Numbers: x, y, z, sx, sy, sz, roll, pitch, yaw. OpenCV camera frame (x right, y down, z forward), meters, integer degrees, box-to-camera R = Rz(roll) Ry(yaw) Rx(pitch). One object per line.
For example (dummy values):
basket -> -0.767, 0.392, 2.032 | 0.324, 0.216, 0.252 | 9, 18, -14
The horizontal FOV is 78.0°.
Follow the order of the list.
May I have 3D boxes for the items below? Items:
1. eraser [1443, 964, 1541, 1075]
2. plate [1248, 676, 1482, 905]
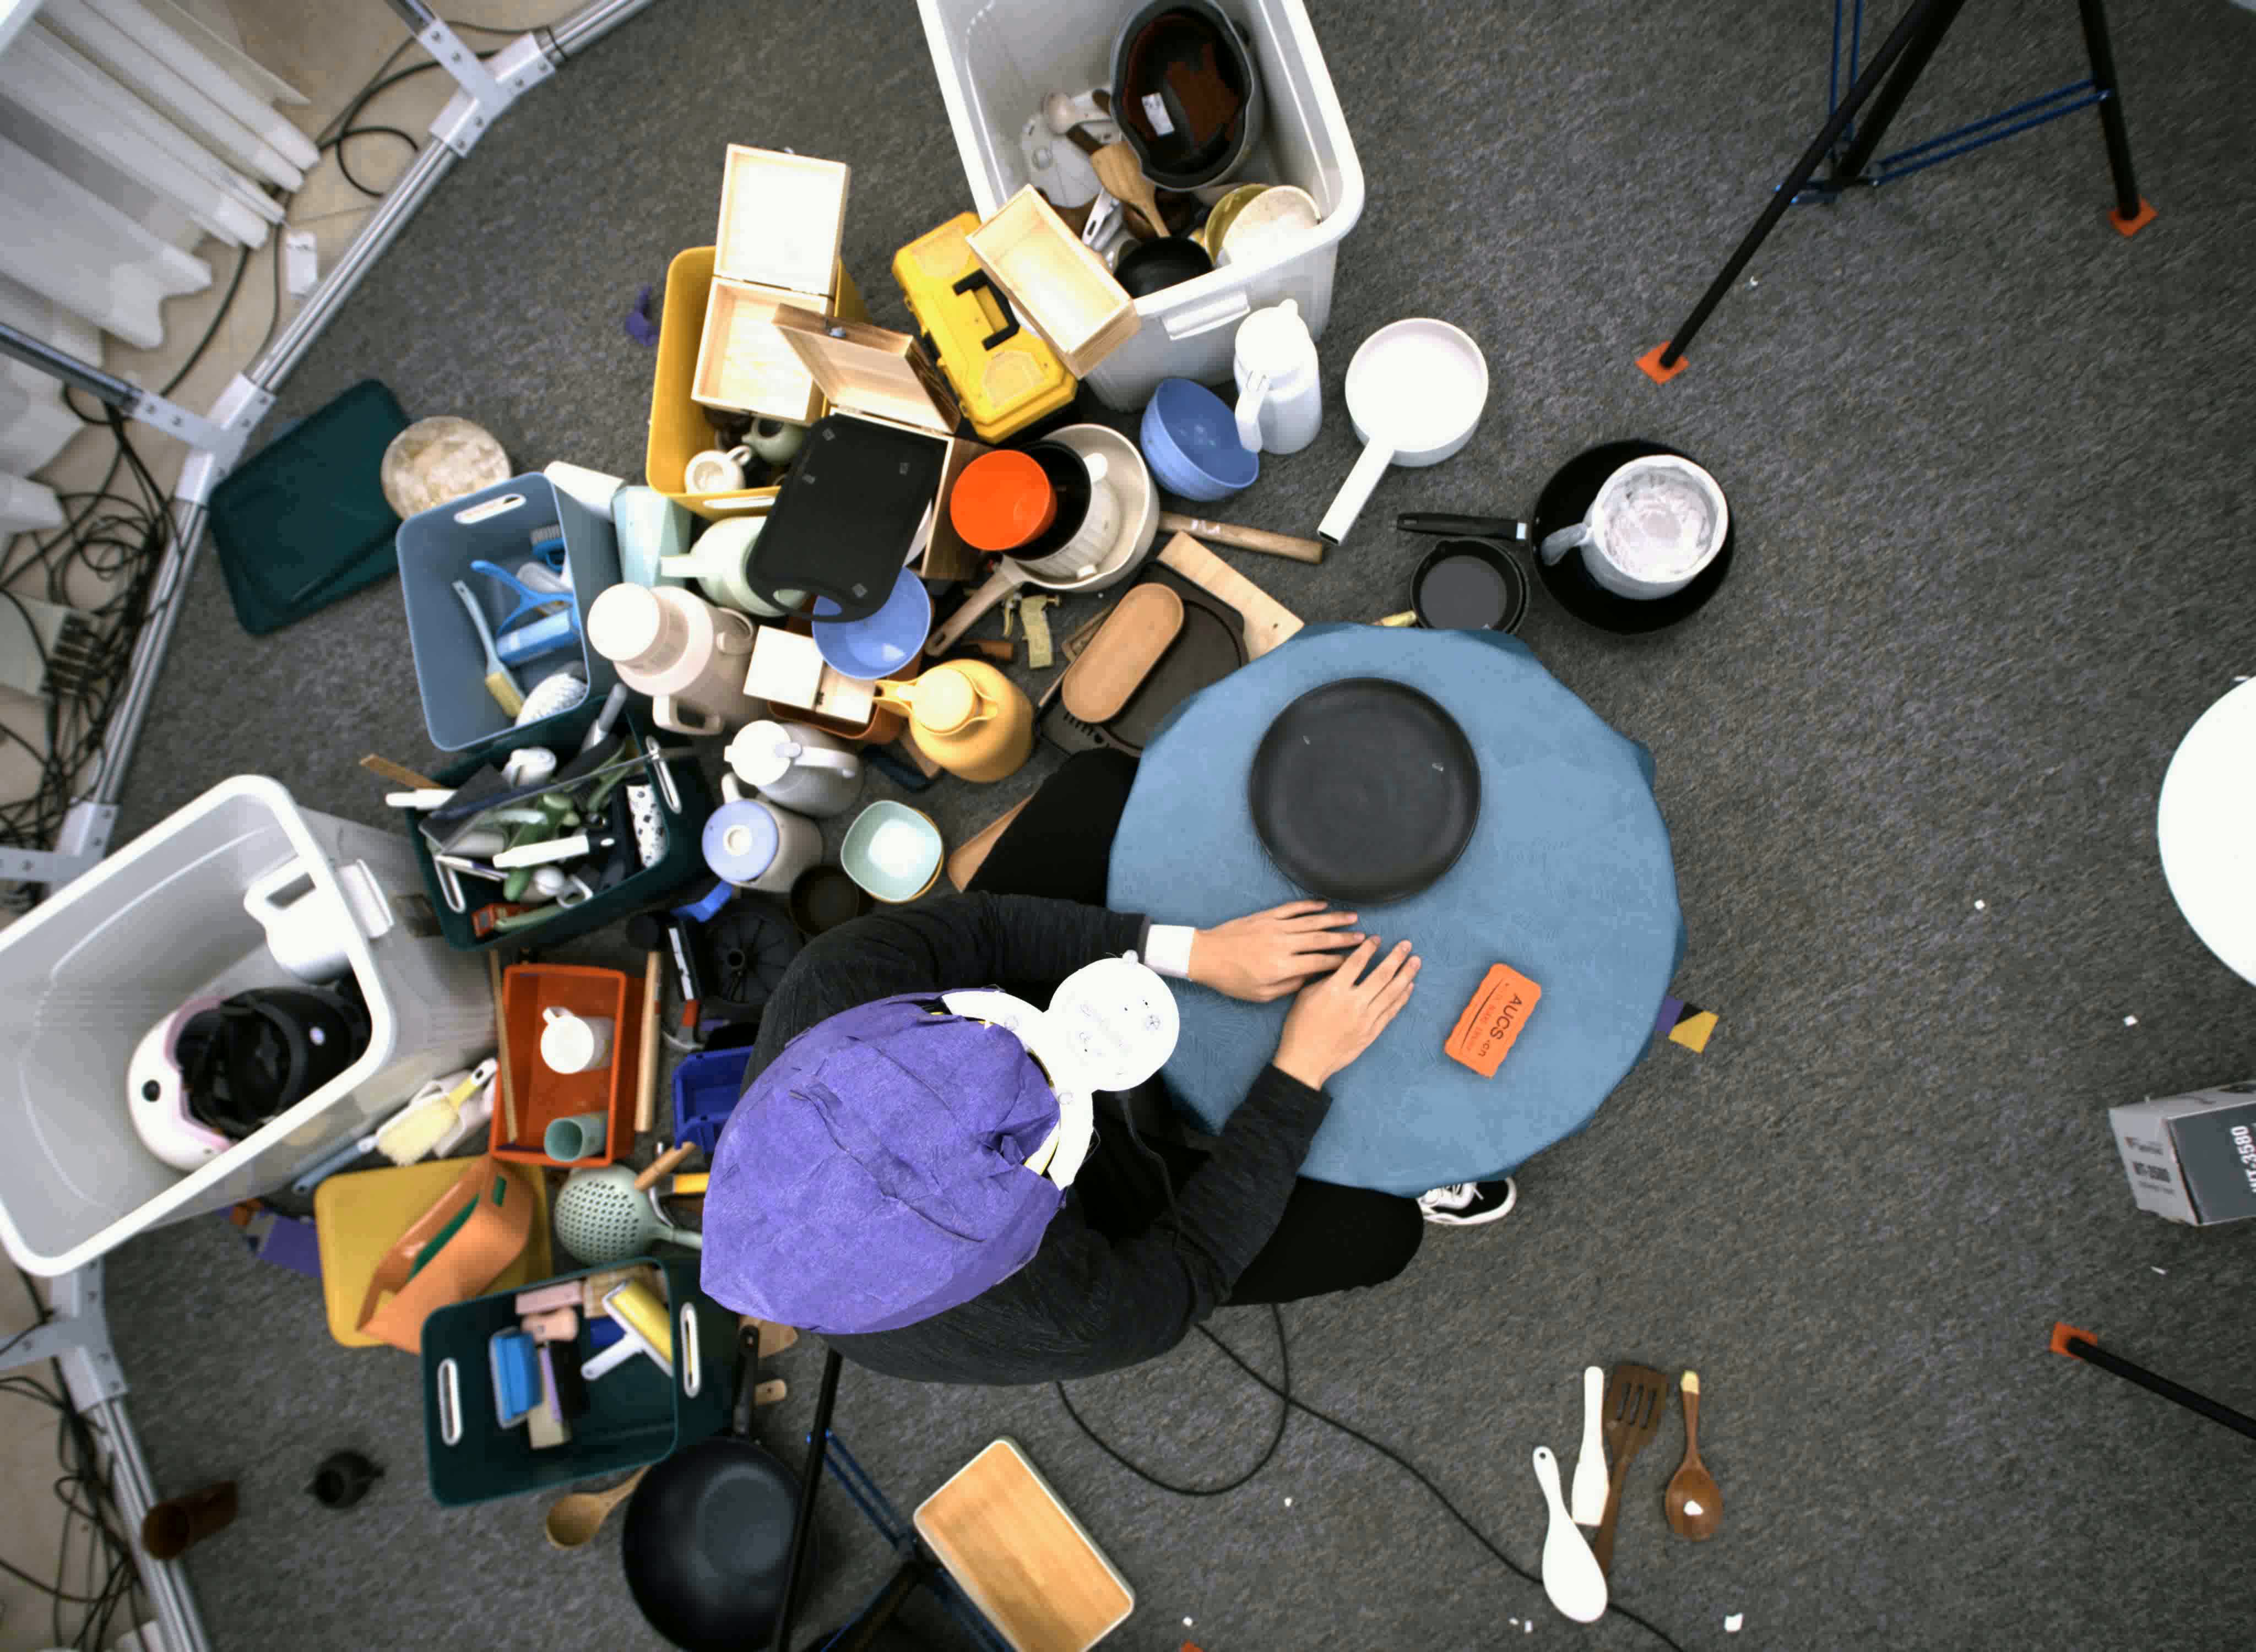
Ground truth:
eraser -> 0.375, 0.196, 1.421 | 0.059, 0.023, 0.108 | 32, 93, 12
plate -> 0.249, -0.039, 1.458 | 0.245, 0.023, 0.243 | -1, 87, 10
